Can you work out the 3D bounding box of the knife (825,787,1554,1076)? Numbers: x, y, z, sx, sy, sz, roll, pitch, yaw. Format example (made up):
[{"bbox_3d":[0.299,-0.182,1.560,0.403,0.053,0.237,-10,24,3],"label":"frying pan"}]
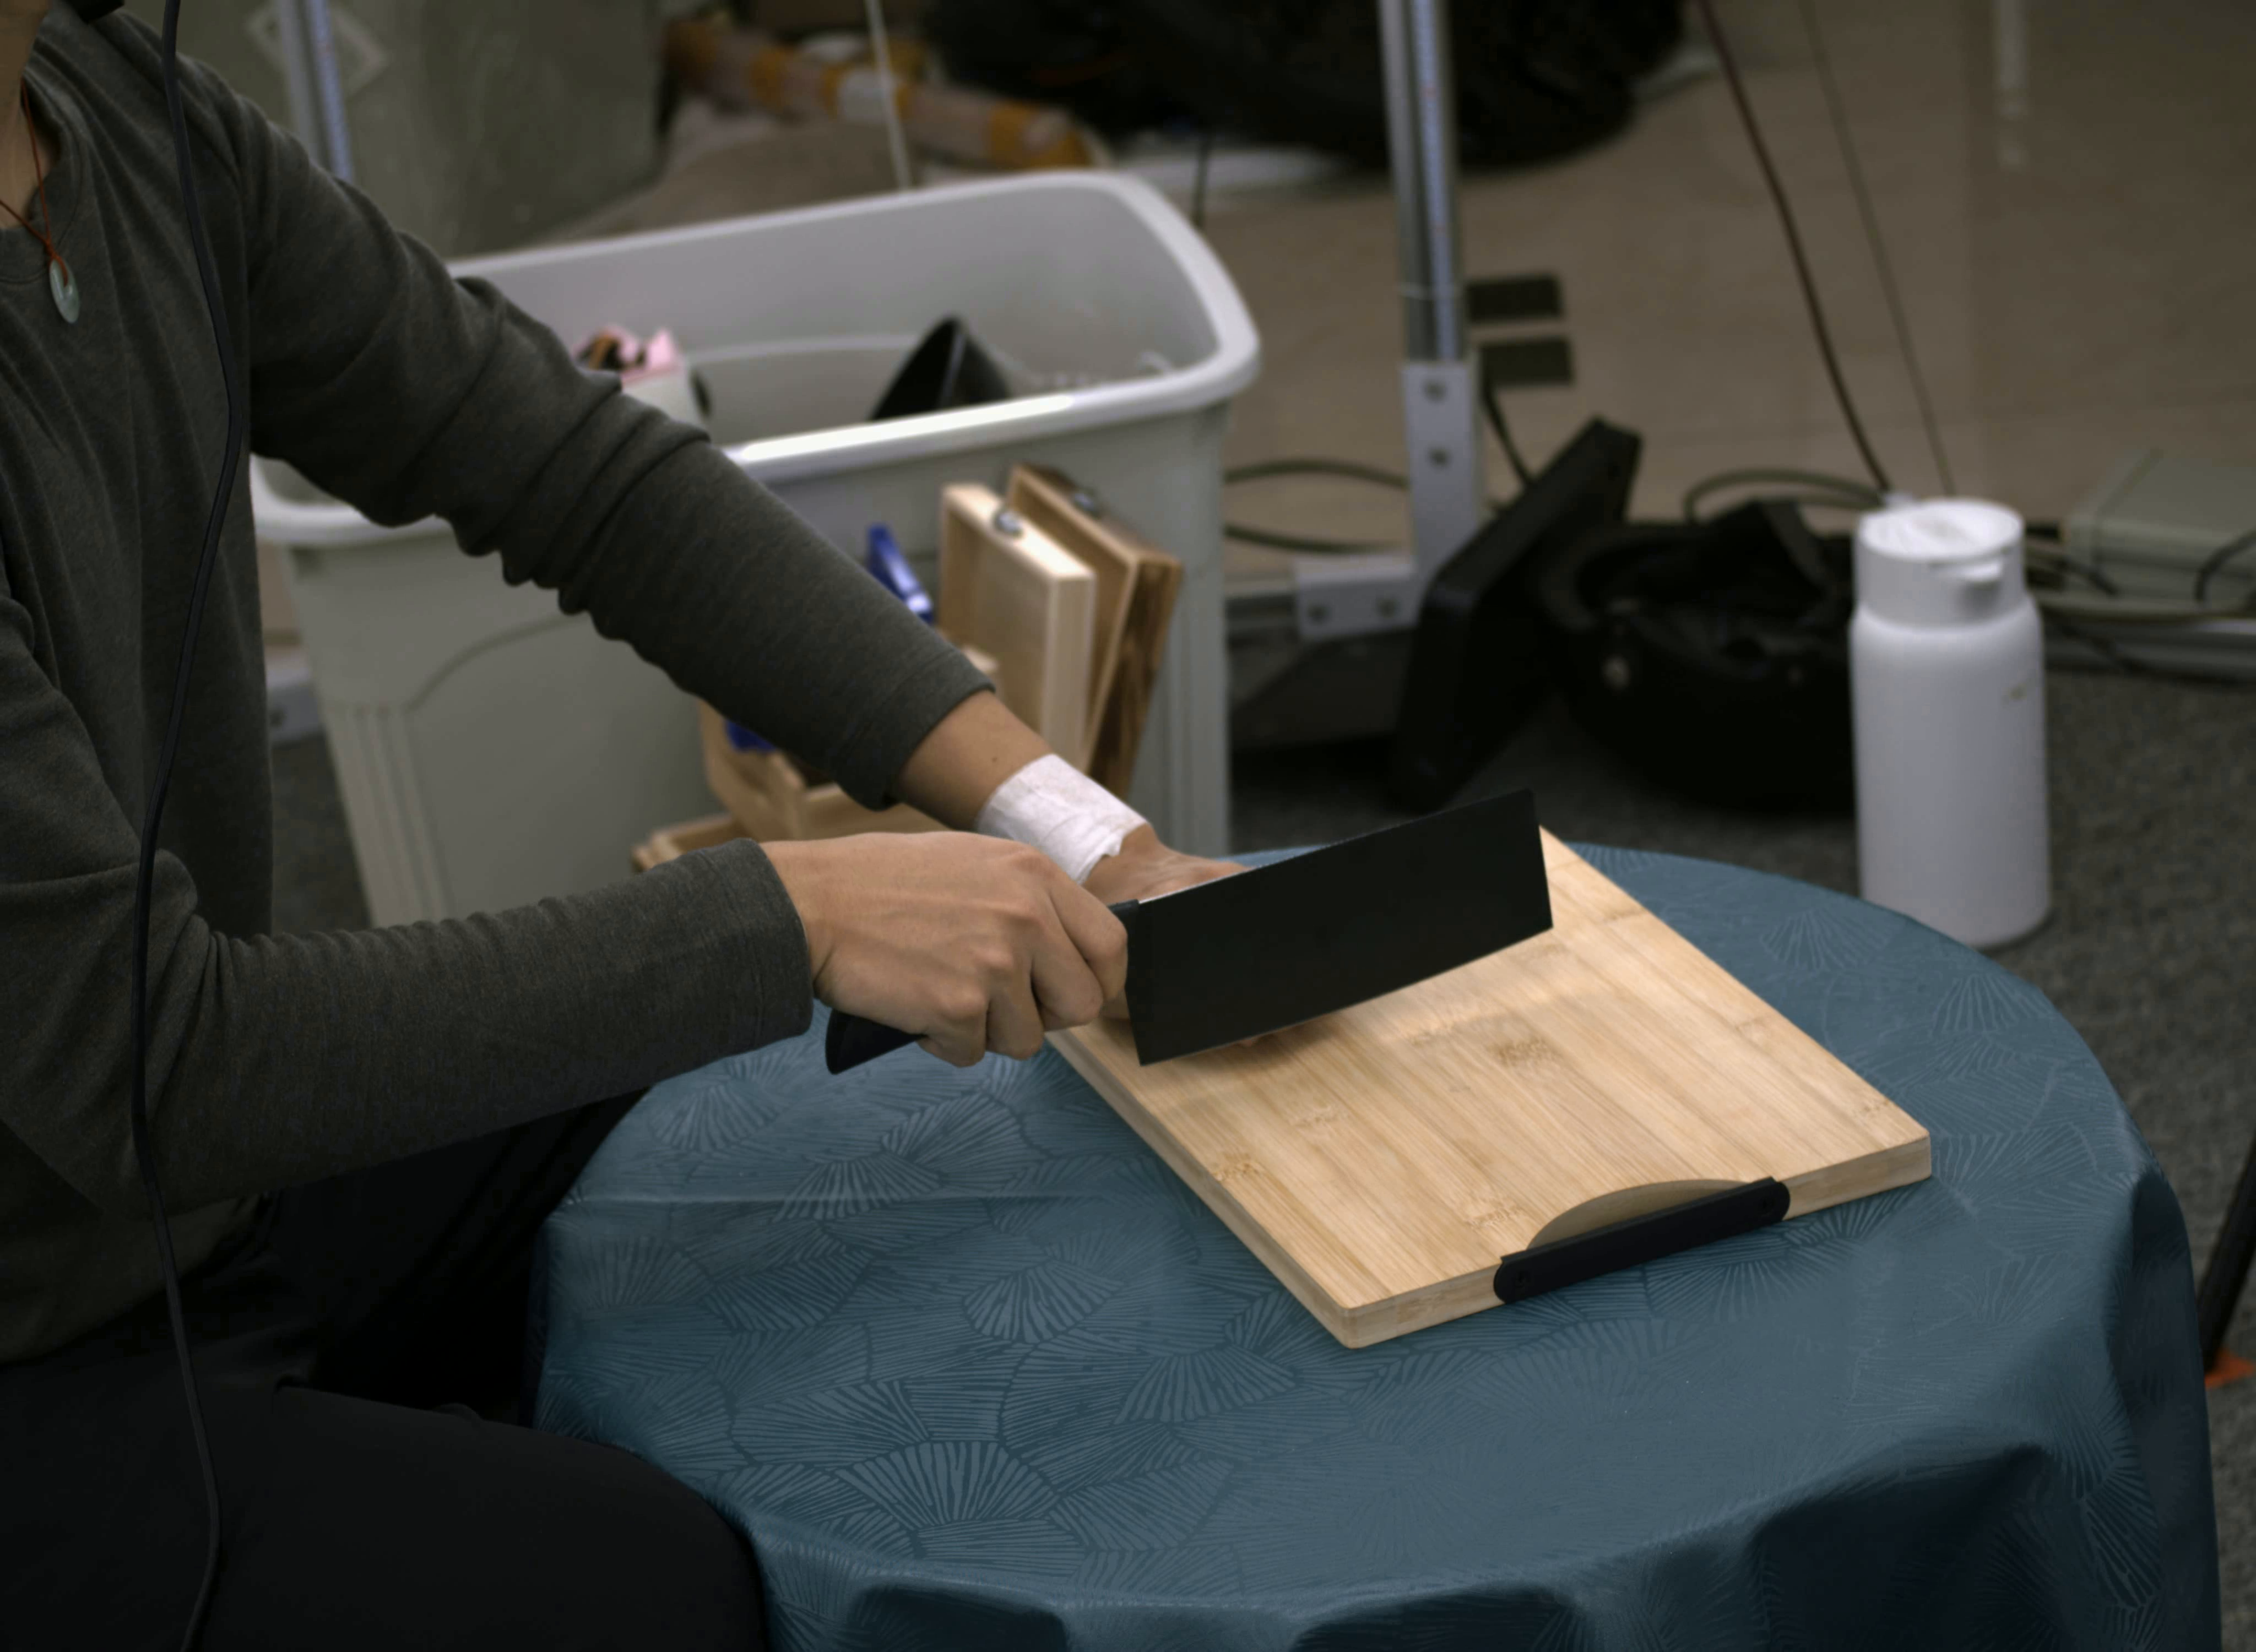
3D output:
[{"bbox_3d":[0.026,0.050,2.167,0.301,0.082,0.020,-12,18,-19],"label":"knife"}]

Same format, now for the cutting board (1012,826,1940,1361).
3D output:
[{"bbox_3d":[0.125,0.095,2.197,0.250,0.024,0.344,-16,26,-18],"label":"cutting board"}]
